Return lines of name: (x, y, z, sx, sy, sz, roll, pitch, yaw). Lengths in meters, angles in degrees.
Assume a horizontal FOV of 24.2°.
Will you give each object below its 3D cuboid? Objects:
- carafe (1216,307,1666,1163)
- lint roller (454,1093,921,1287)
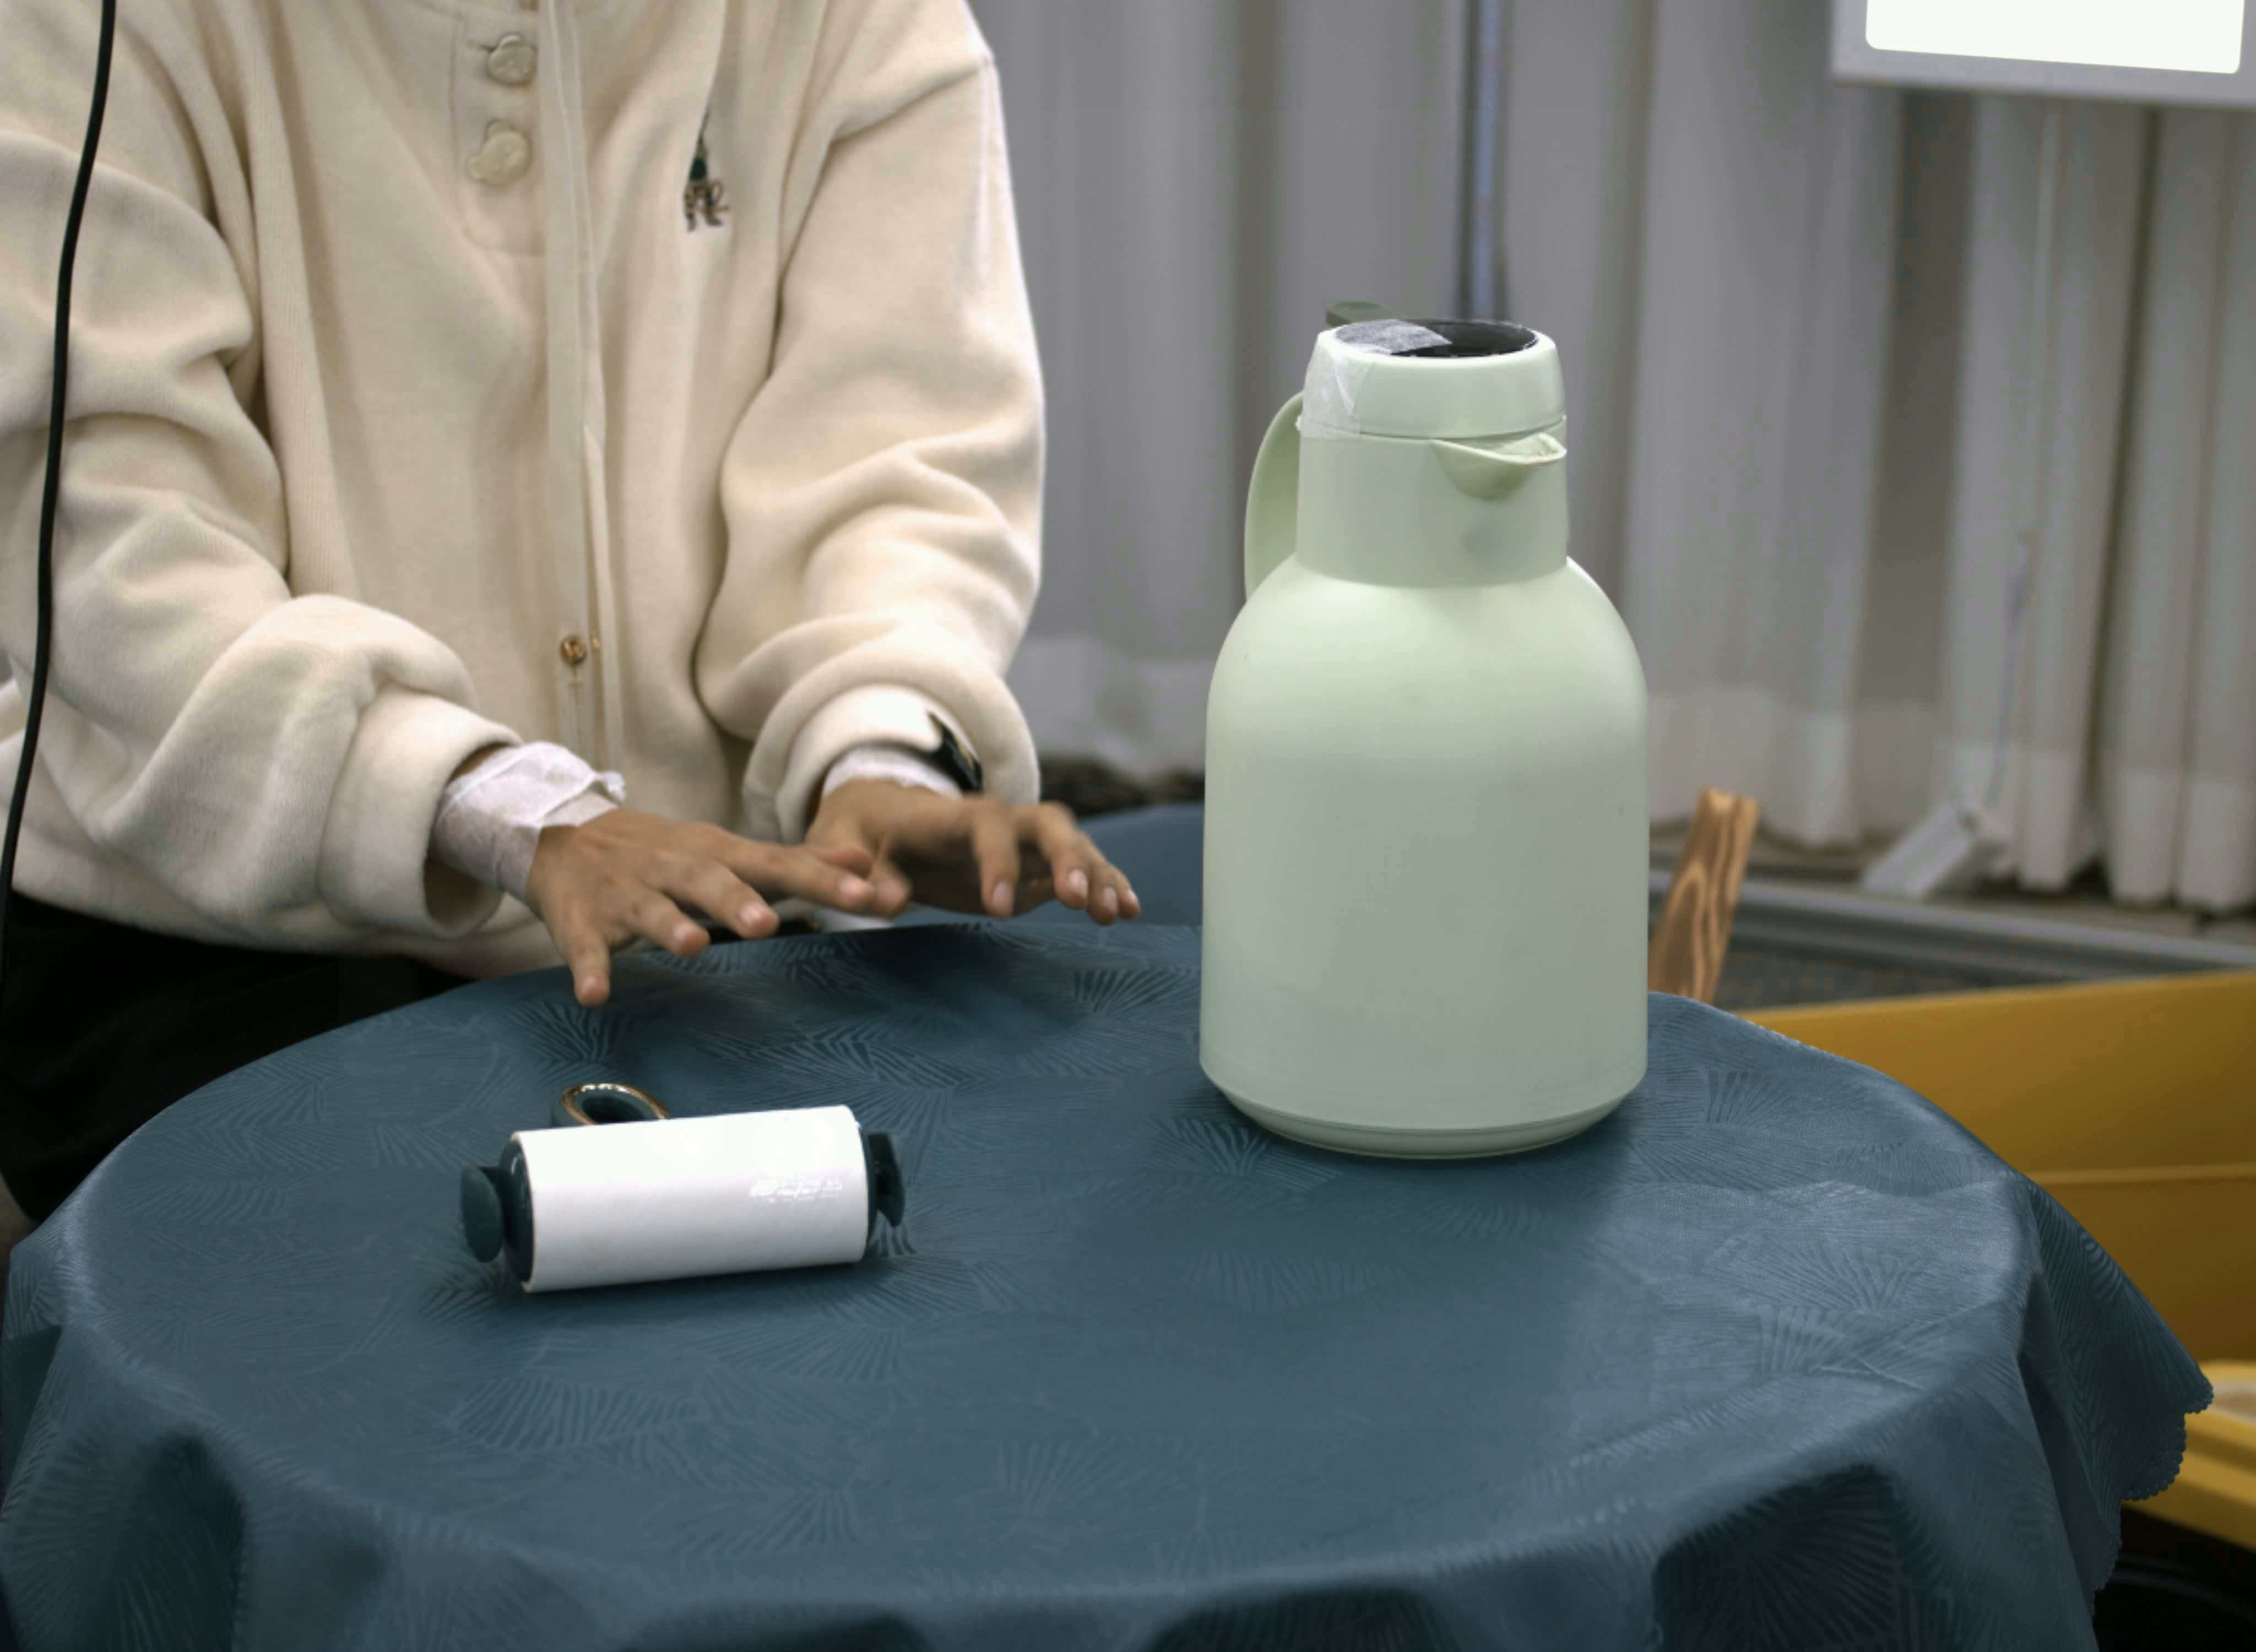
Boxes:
carafe: (0.092, -0.034, 1.685, 0.144, 0.259, 0.185, -9, 15, -22)
lint roller: (-0.147, 0.091, 1.602, 0.134, 0.049, 0.178, -3, 16, -16)
